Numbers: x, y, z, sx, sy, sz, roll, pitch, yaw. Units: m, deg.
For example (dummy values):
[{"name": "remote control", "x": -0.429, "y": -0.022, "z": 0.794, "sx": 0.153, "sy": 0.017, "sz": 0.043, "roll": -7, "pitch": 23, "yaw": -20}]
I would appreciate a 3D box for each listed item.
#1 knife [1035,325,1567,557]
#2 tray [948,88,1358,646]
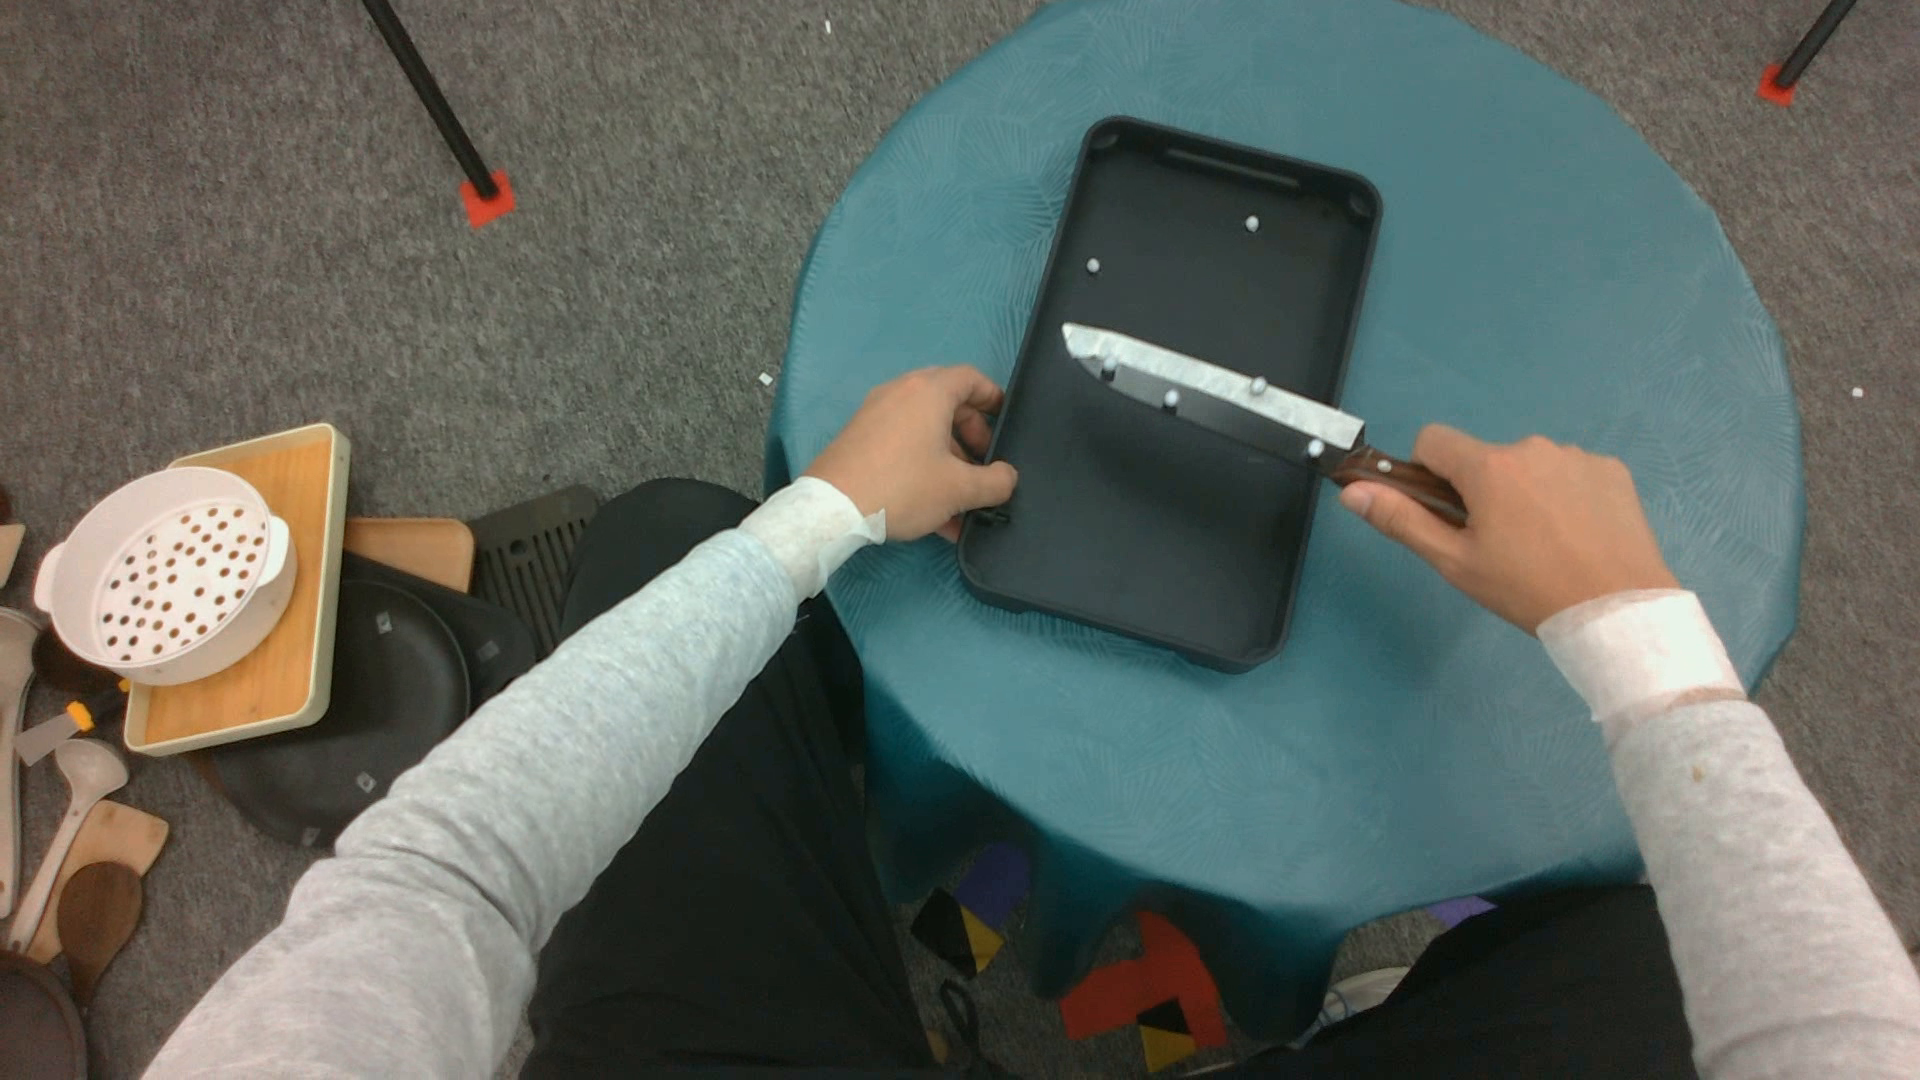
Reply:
[{"name": "knife", "x": 0.167, "y": -0.056, "z": 0.704, "sx": 0.289, "sy": 0.020, "sz": 0.050, "roll": 24, "pitch": 54, "yaw": 15}, {"name": "tray", "x": 0.115, "y": -0.107, "z": 0.793, "sx": 0.184, "sy": 0.037, "sz": 0.319, "roll": 14, "pitch": 71, "yaw": 3}]
